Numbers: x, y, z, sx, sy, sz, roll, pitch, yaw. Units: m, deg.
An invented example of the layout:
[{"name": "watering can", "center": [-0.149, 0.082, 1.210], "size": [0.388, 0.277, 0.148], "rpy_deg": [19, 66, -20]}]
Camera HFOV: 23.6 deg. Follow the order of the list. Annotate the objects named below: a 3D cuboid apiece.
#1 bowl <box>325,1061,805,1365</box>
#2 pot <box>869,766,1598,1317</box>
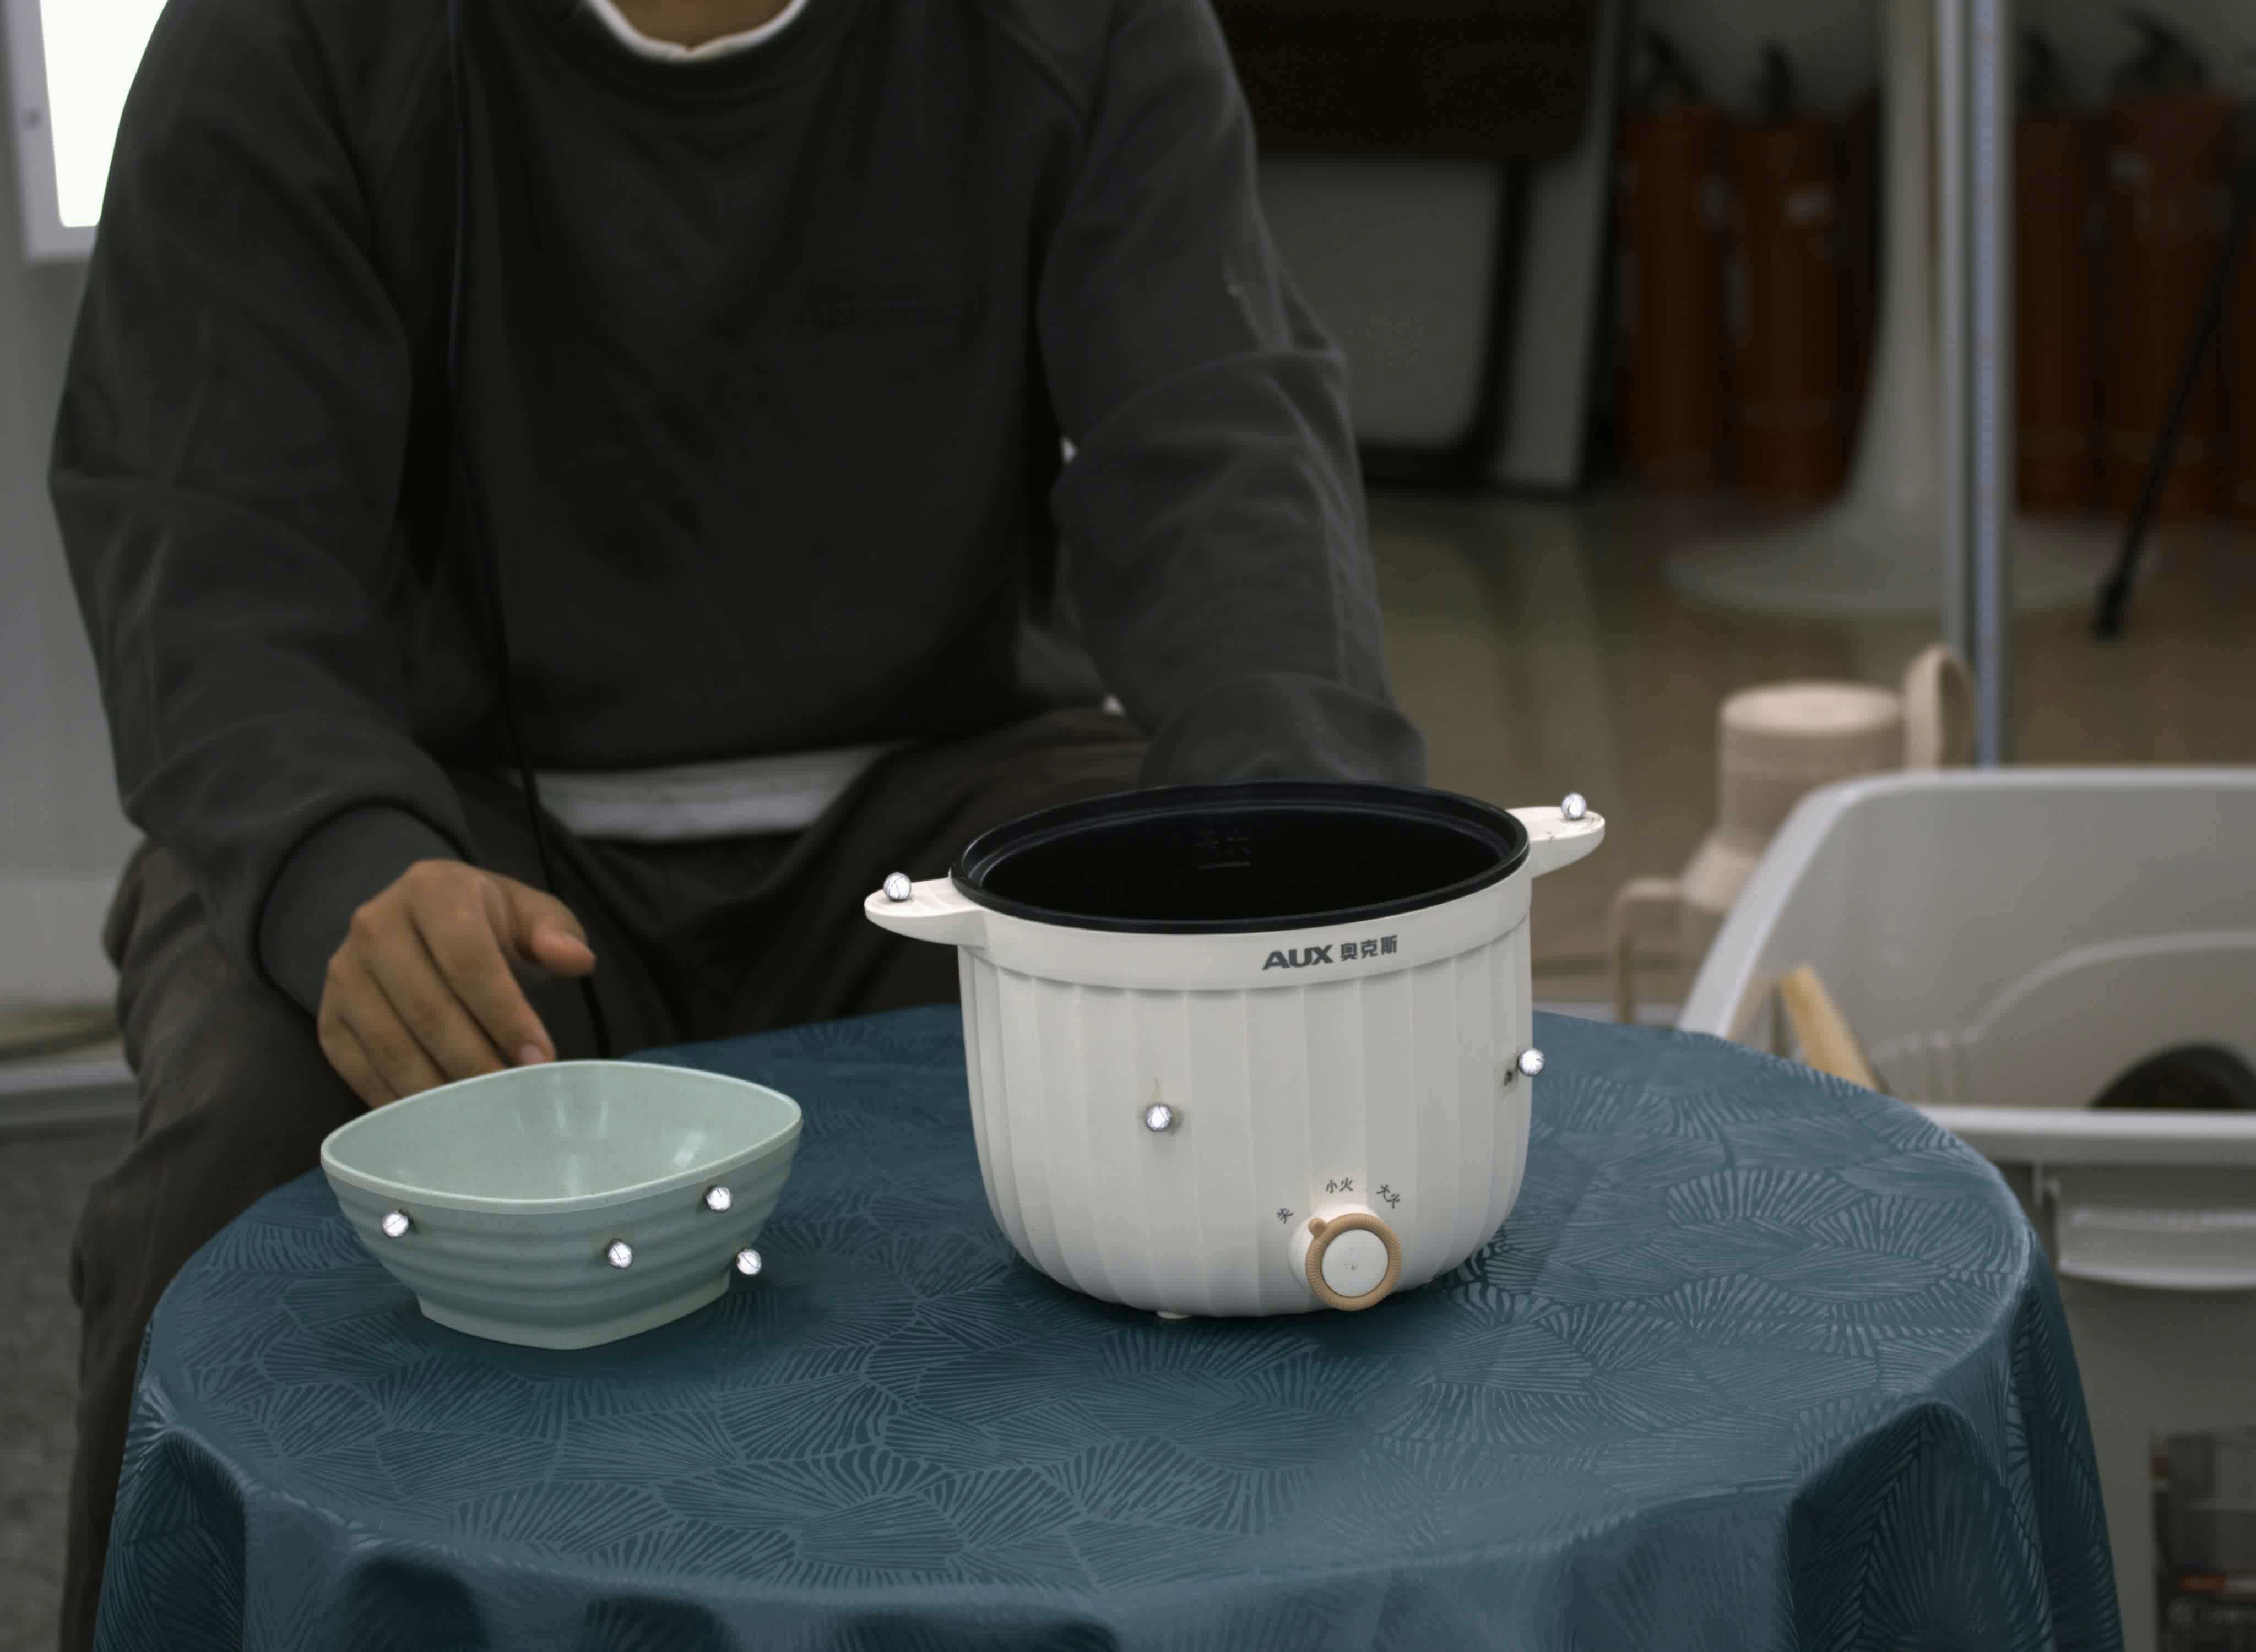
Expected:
[{"name": "bowl", "center": [-0.174, 0.124, 1.695], "size": [0.149, 0.059, 0.152], "rpy_deg": [-3, 15, 0]}, {"name": "pot", "center": [0.042, 0.069, 1.678], "size": [0.236, 0.144, 0.192], "rpy_deg": [-9, 11, -15]}]
